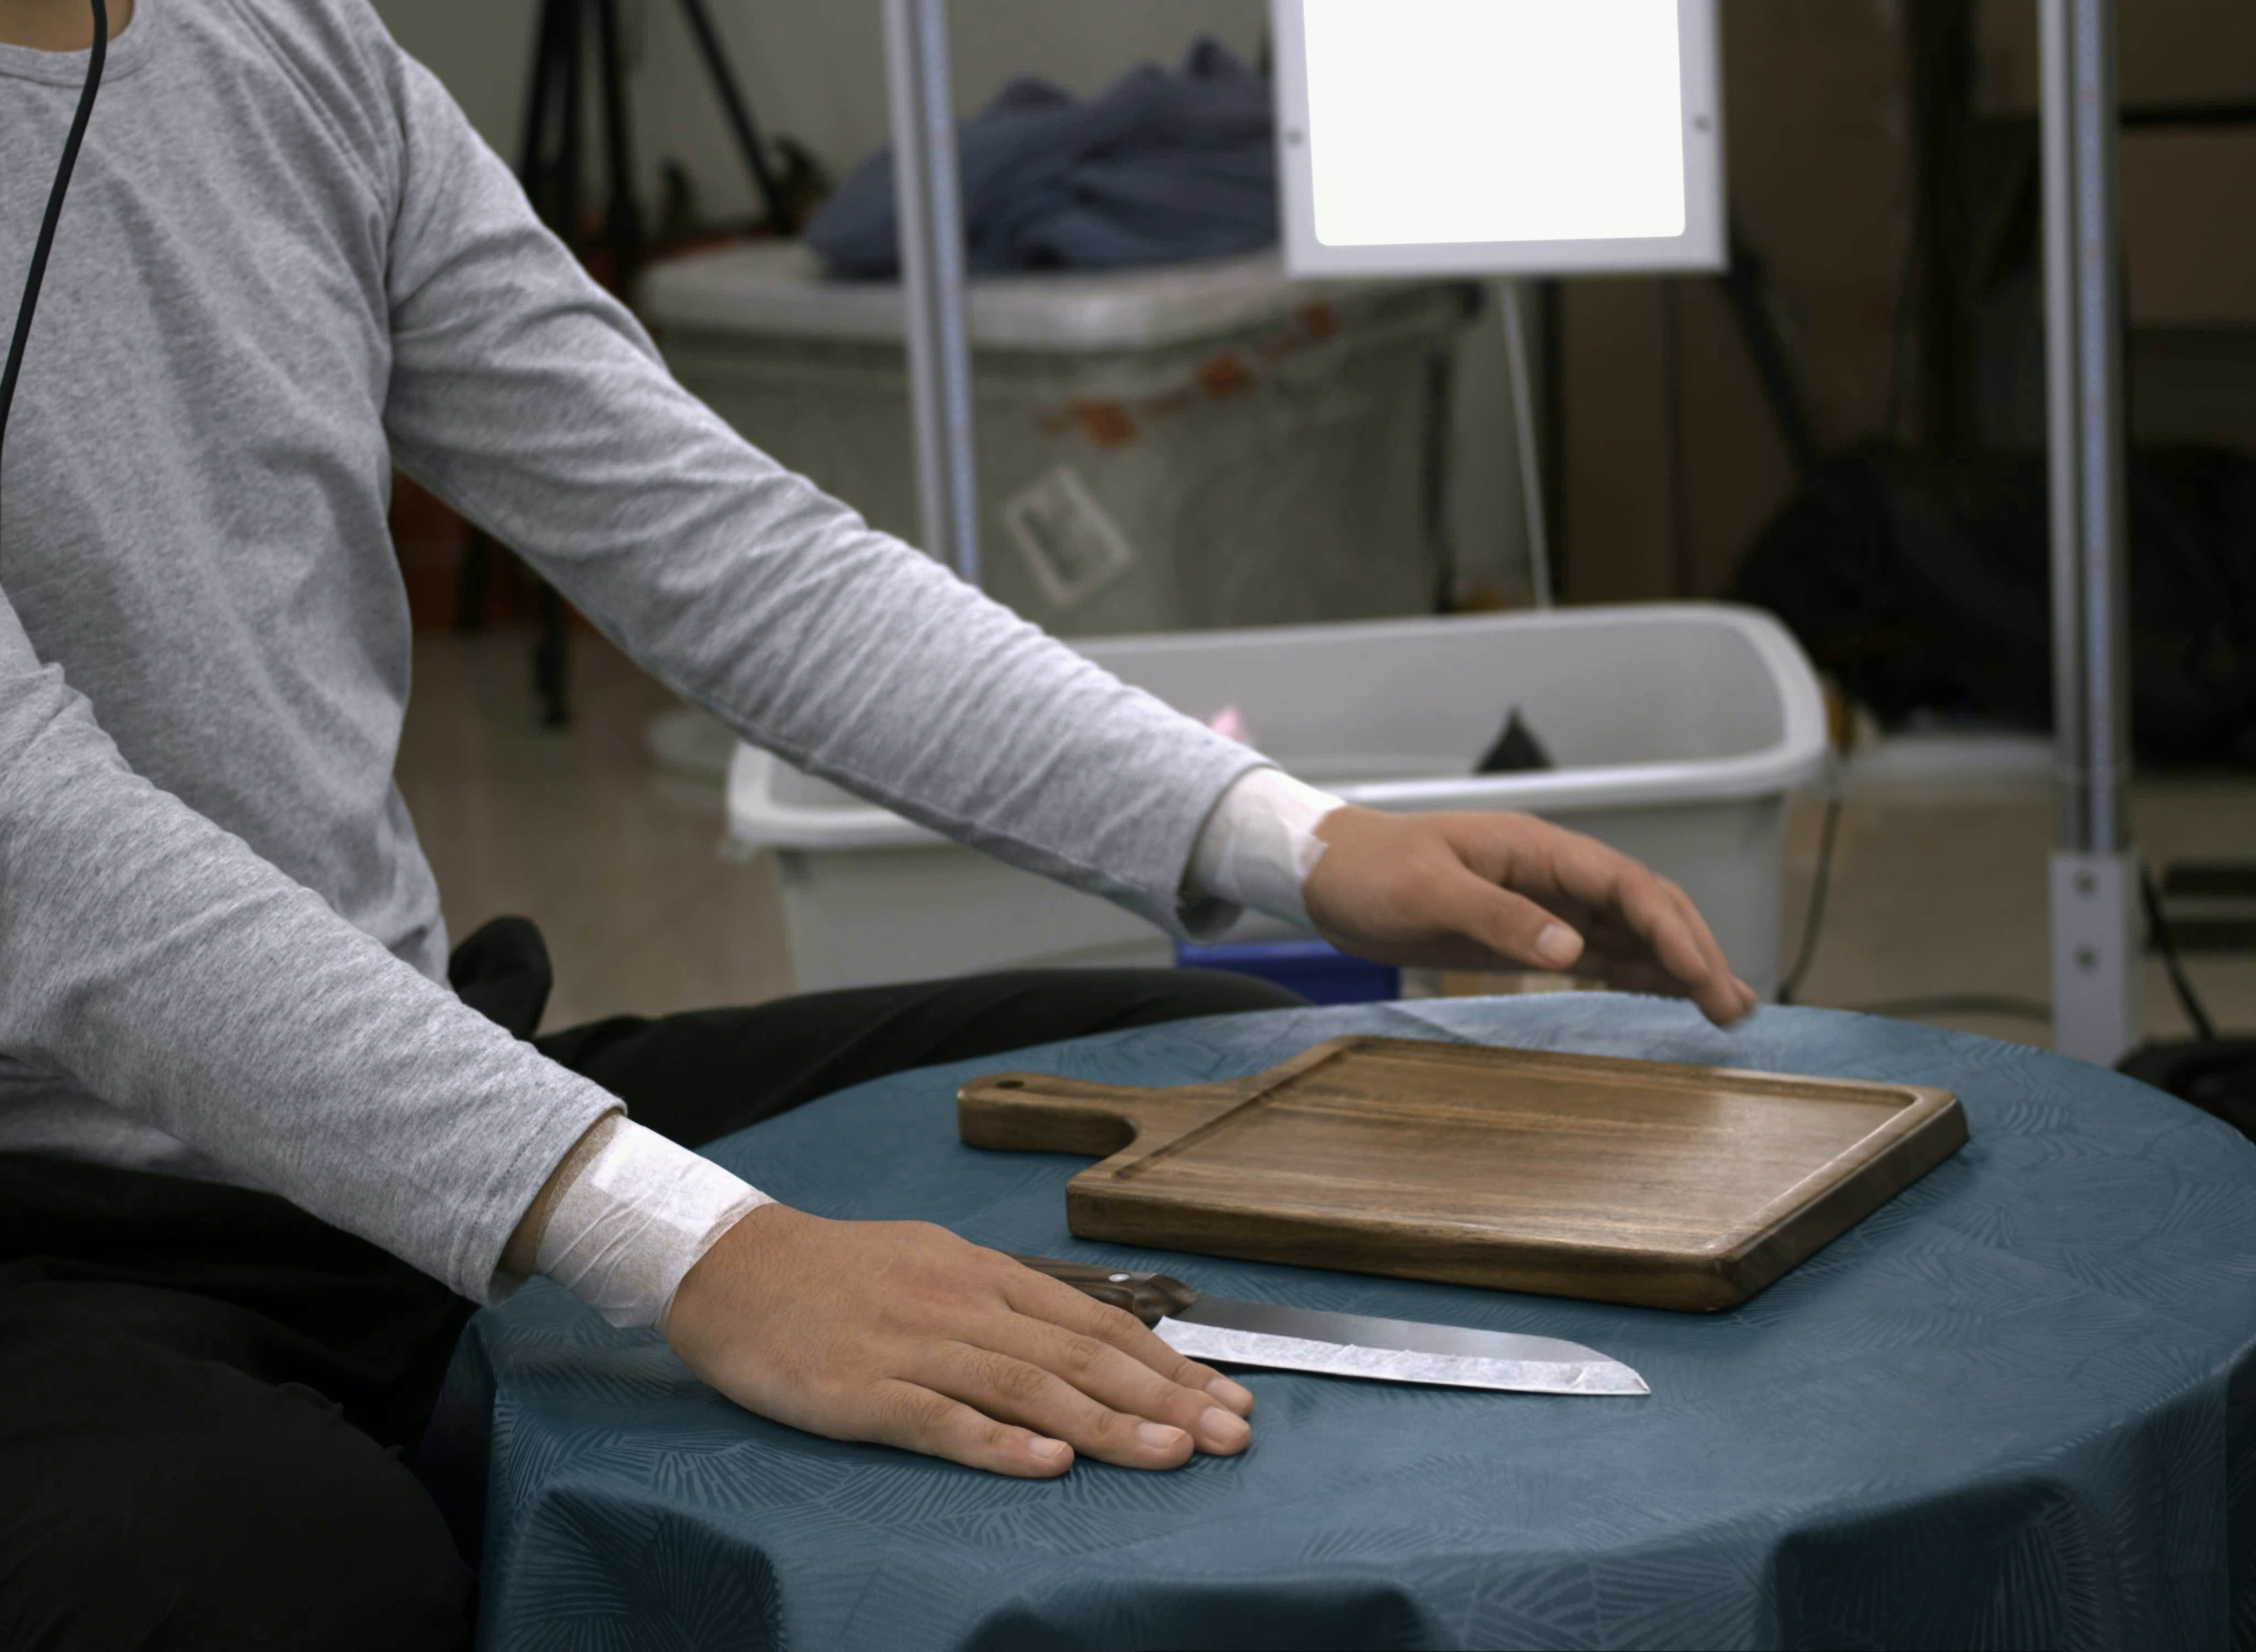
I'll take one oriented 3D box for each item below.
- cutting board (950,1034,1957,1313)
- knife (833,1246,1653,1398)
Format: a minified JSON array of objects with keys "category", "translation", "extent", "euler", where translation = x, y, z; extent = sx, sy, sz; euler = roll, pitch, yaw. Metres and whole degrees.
[{"category":"cutting board","translation":[0.090,0.111,1.891],"extent":[0.359,0.023,0.196],"euler":[4,16,33]},{"category":"knife","translation":[0.032,0.158,1.732],"extent":[0.294,0.020,0.049],"euler":[5,22,28]}]
